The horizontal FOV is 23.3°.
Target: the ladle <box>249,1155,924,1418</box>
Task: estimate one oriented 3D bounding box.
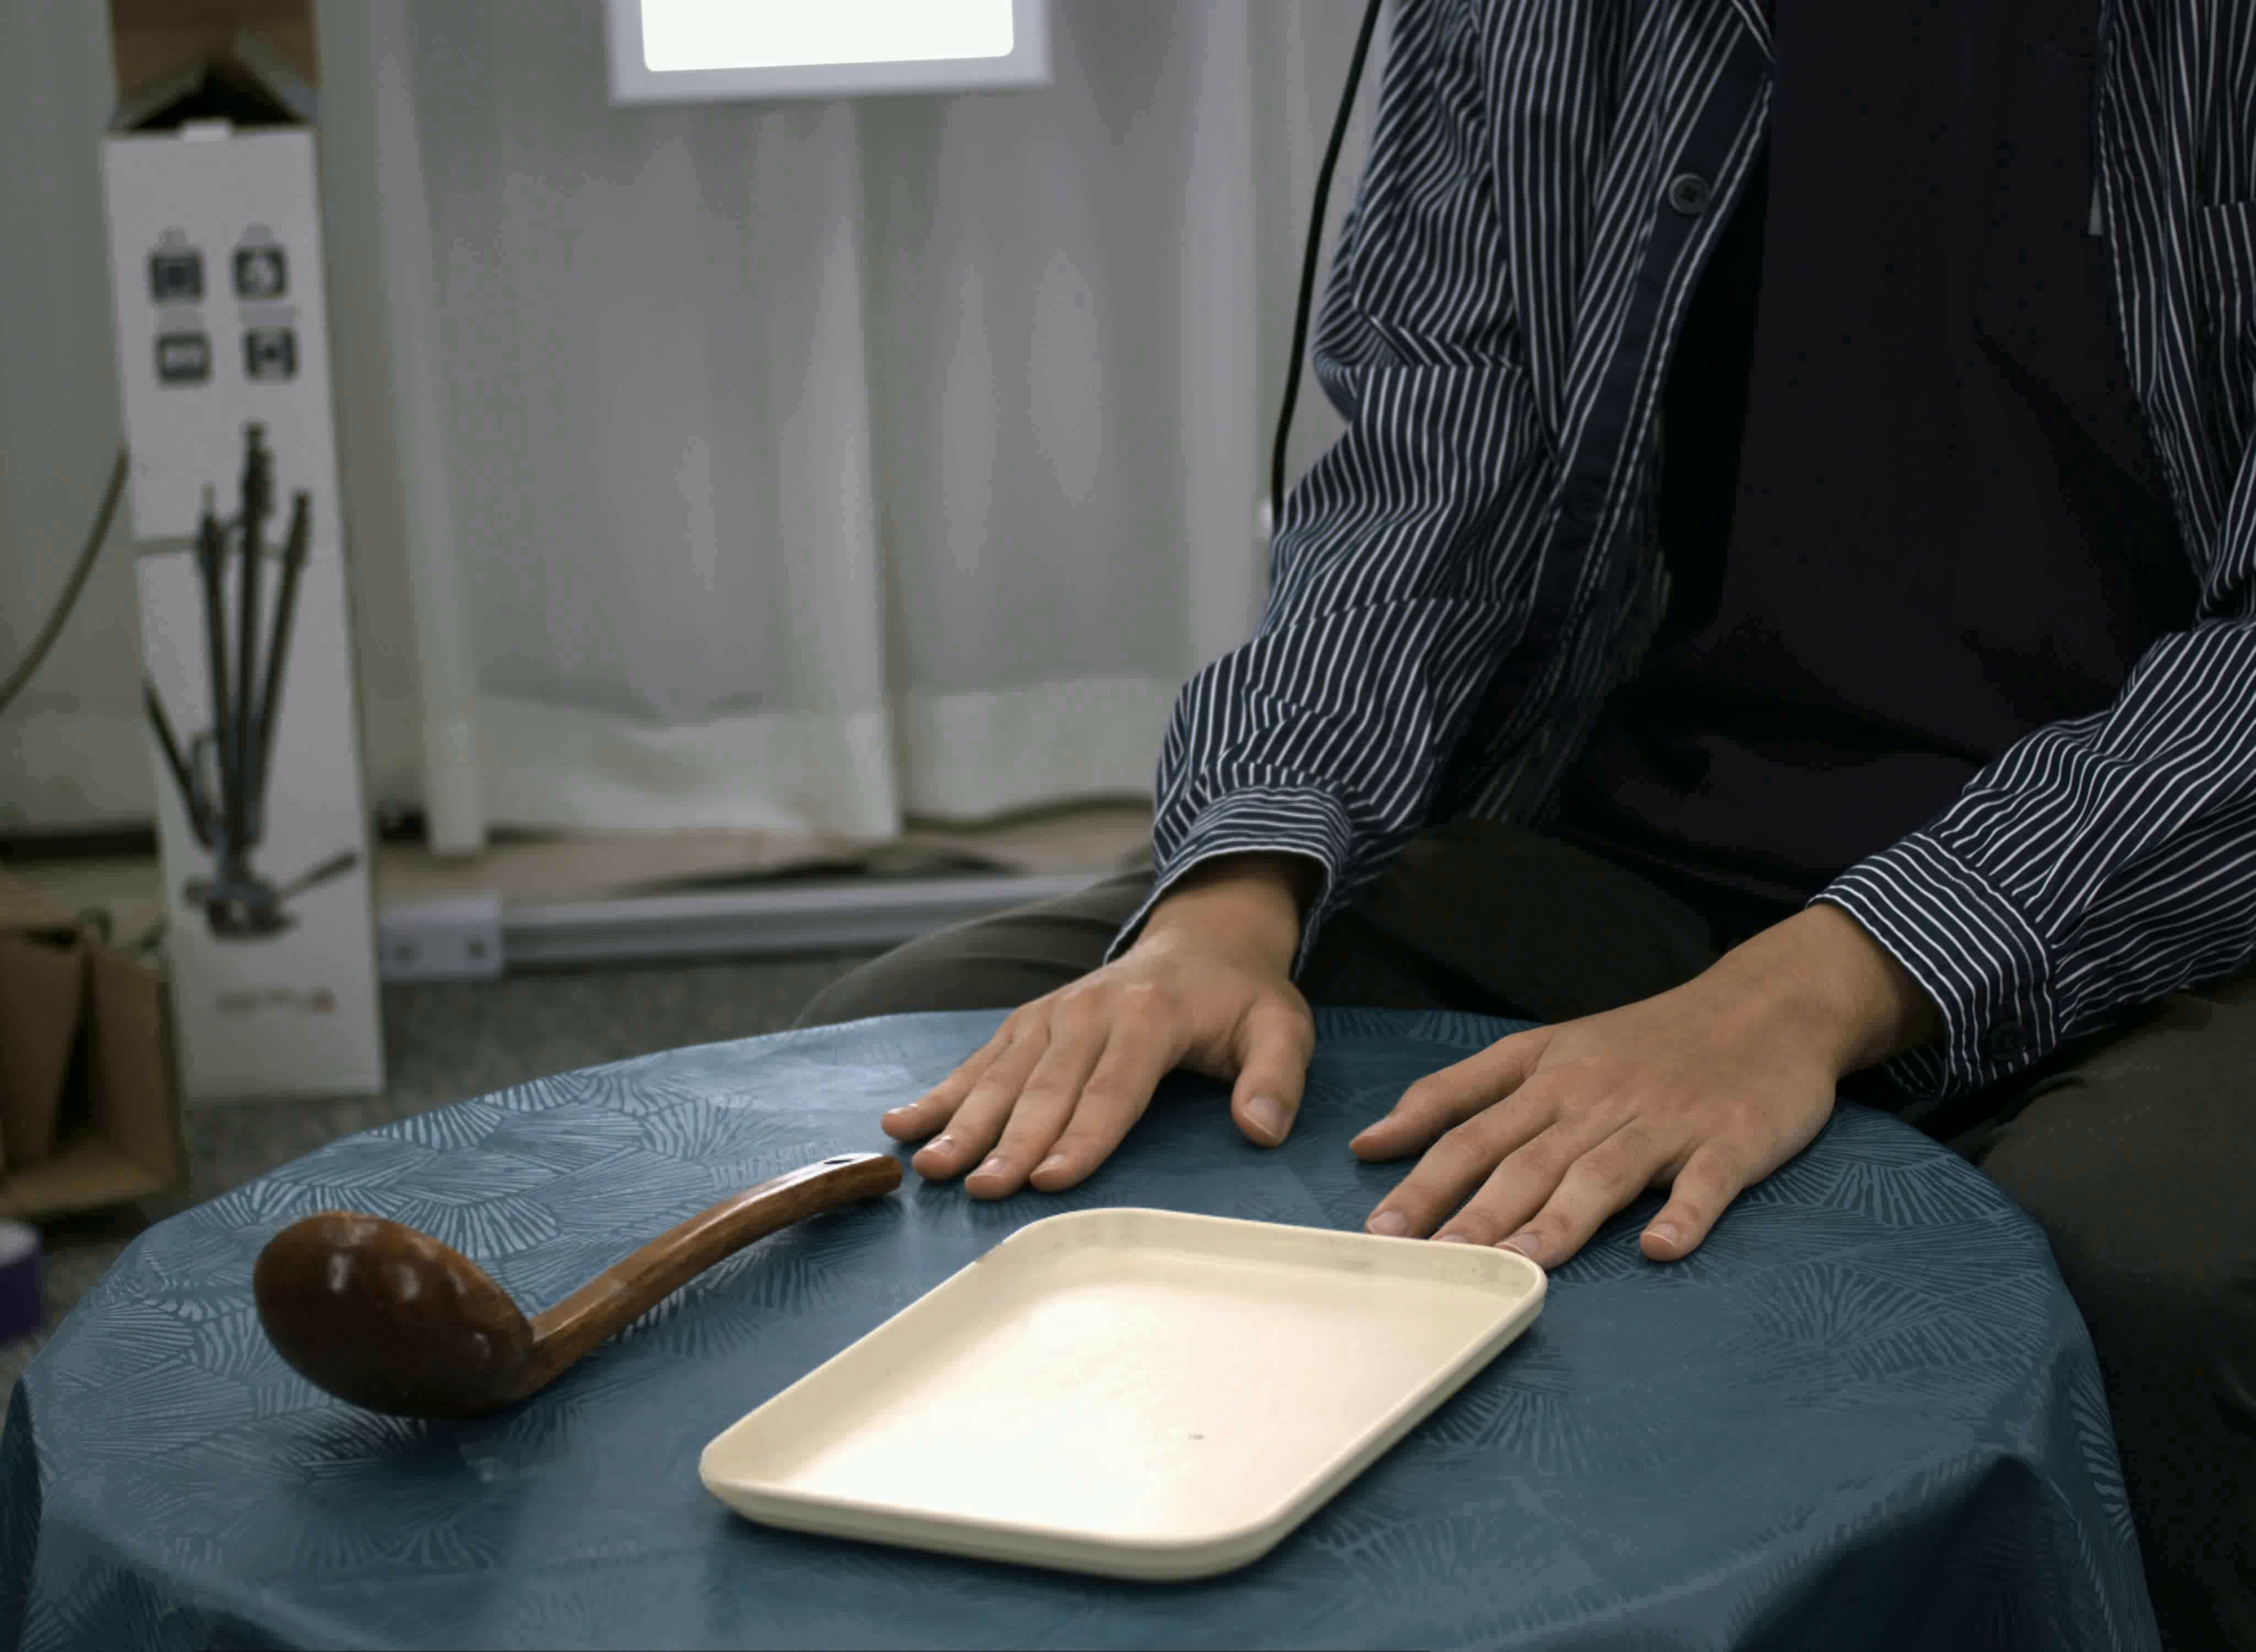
[{"bbox_3d":[-0.152,0.111,1.613,0.082,0.076,0.274,1,15,33],"label":"ladle"}]

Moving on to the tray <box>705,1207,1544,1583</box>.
[{"bbox_3d":[0.003,0.157,1.524,0.171,0.017,0.240,5,16,26],"label":"tray"}]
